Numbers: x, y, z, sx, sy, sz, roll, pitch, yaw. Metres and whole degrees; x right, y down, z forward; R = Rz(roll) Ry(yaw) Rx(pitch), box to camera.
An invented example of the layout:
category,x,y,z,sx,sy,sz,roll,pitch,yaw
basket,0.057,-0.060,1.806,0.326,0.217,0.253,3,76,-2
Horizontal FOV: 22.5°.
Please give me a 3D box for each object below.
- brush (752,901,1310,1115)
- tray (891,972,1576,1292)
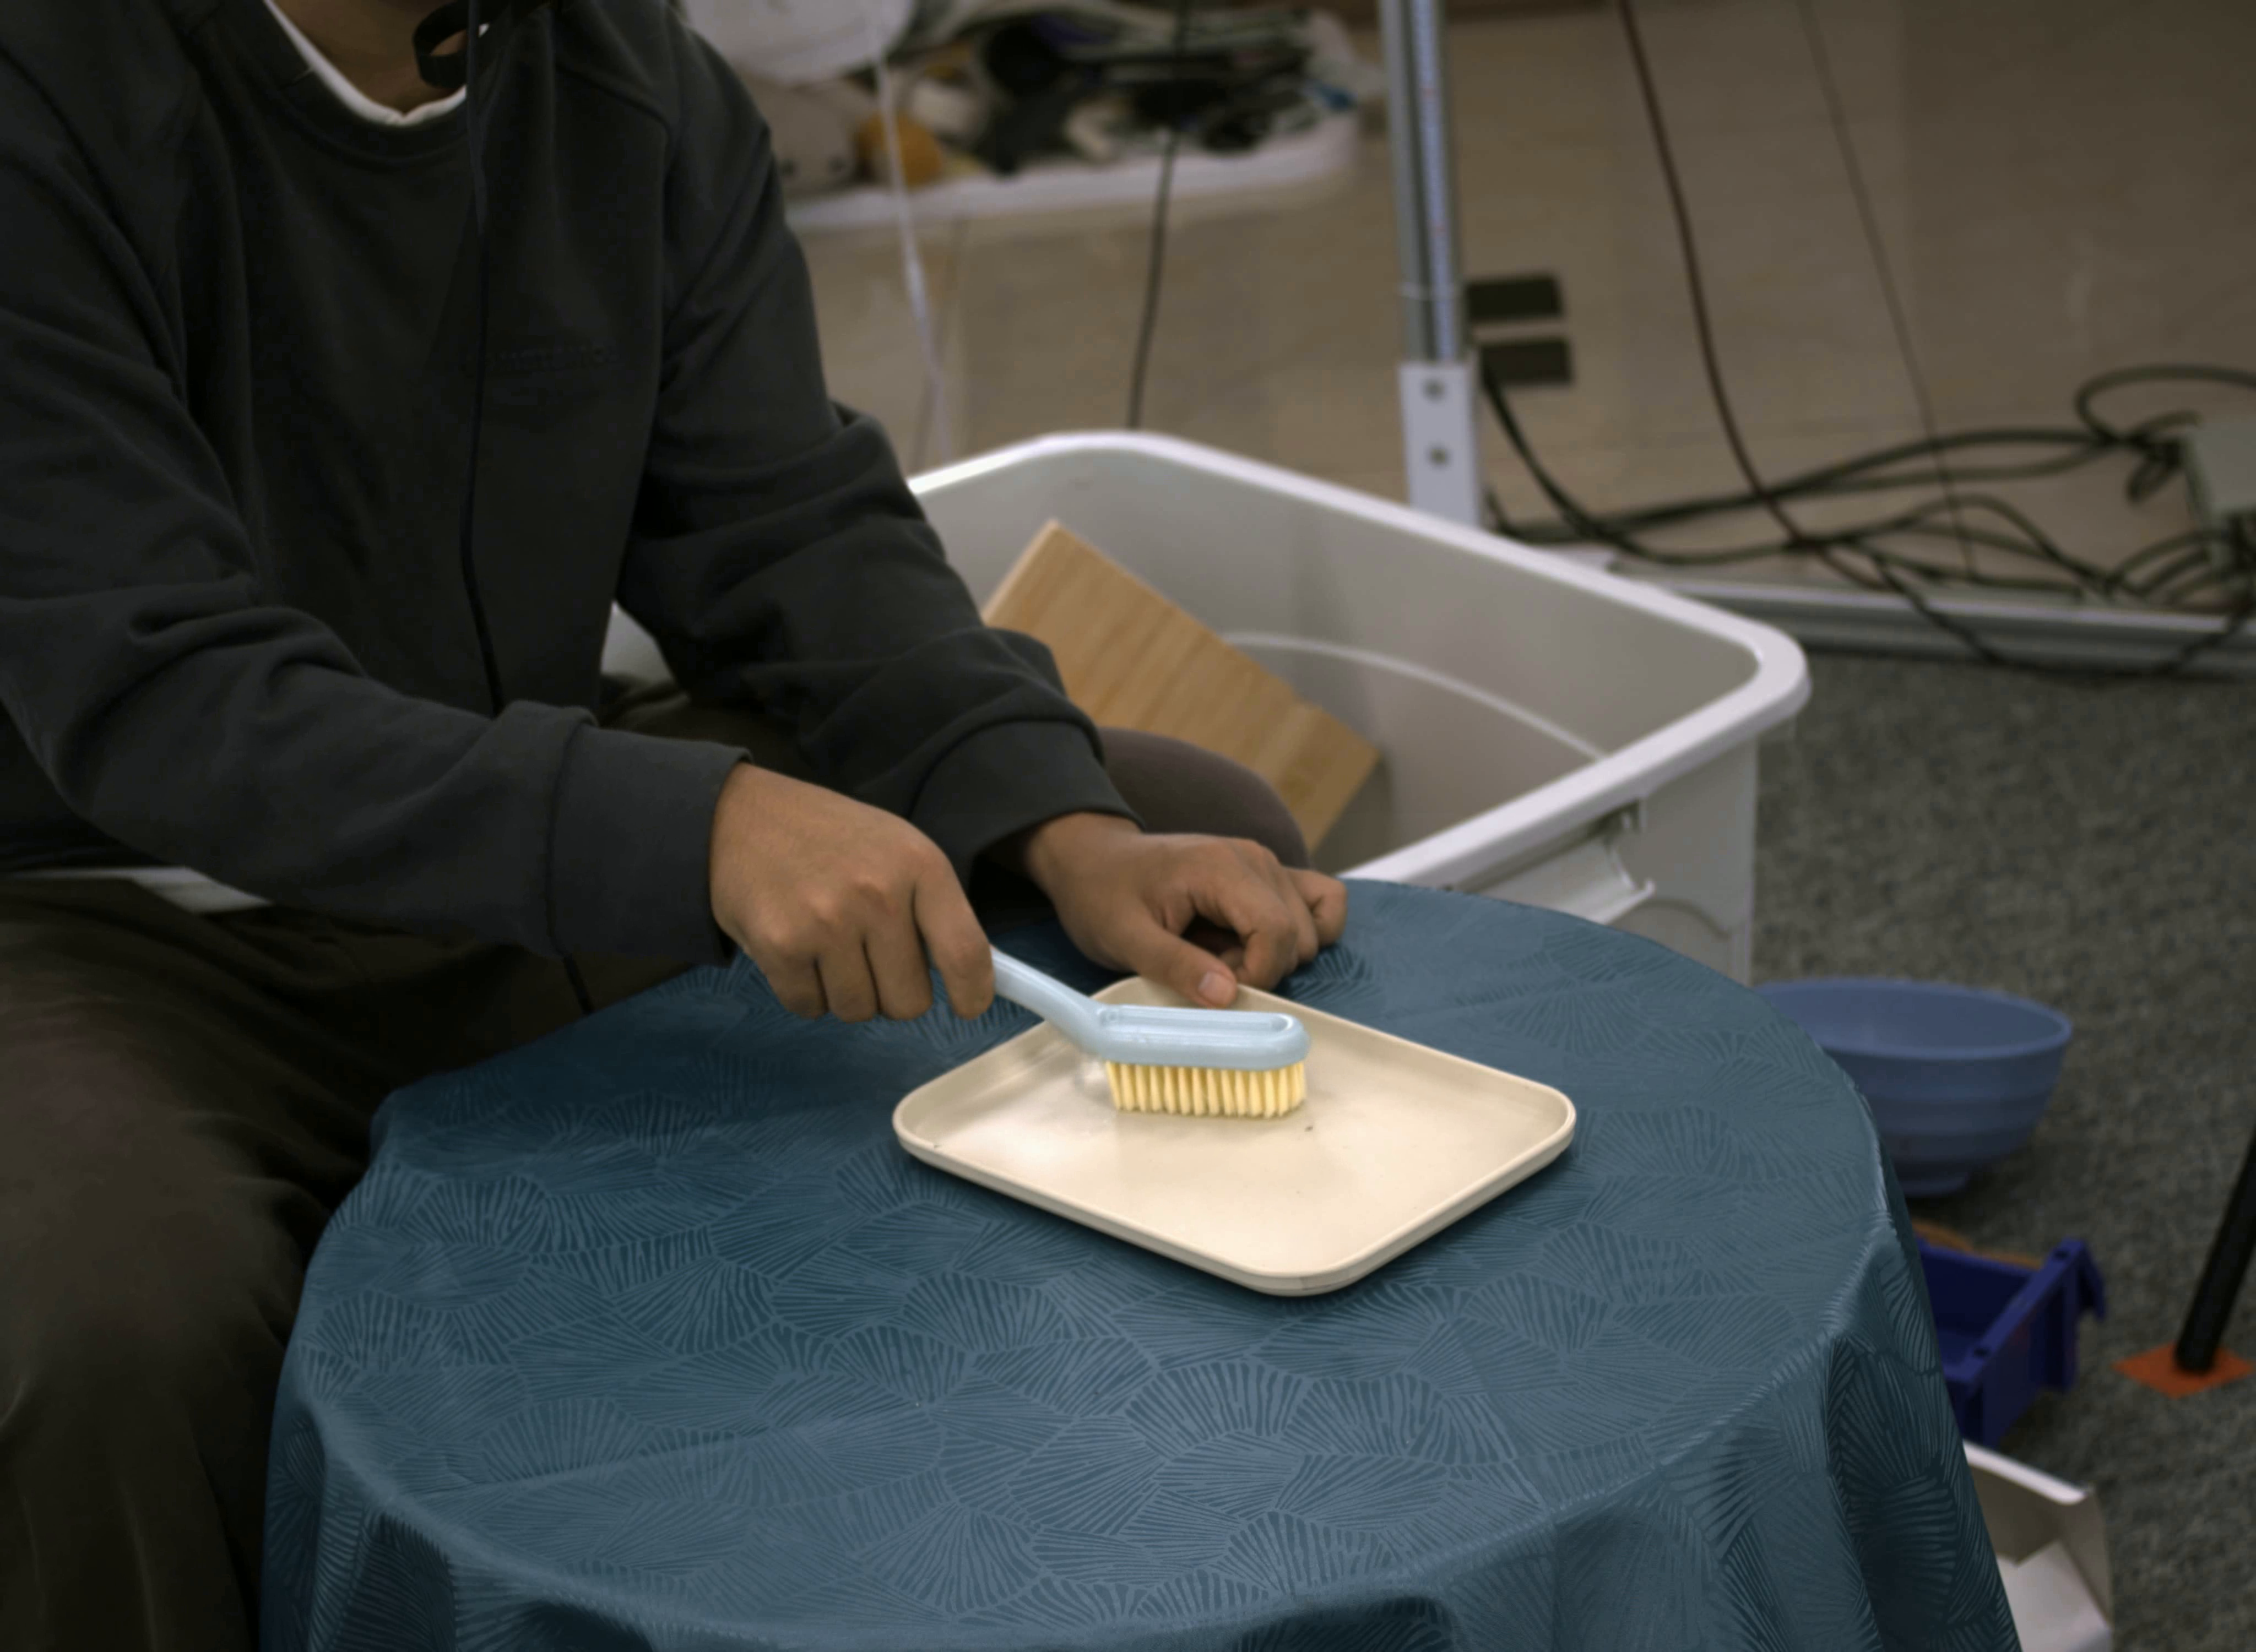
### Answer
category,x,y,z,sx,sy,sz,roll,pitch,yaw
brush,-0.040,0.073,2.212,0.228,0.050,0.037,15,25,13
tray,0.039,0.116,2.166,0.238,0.018,0.170,18,33,42
